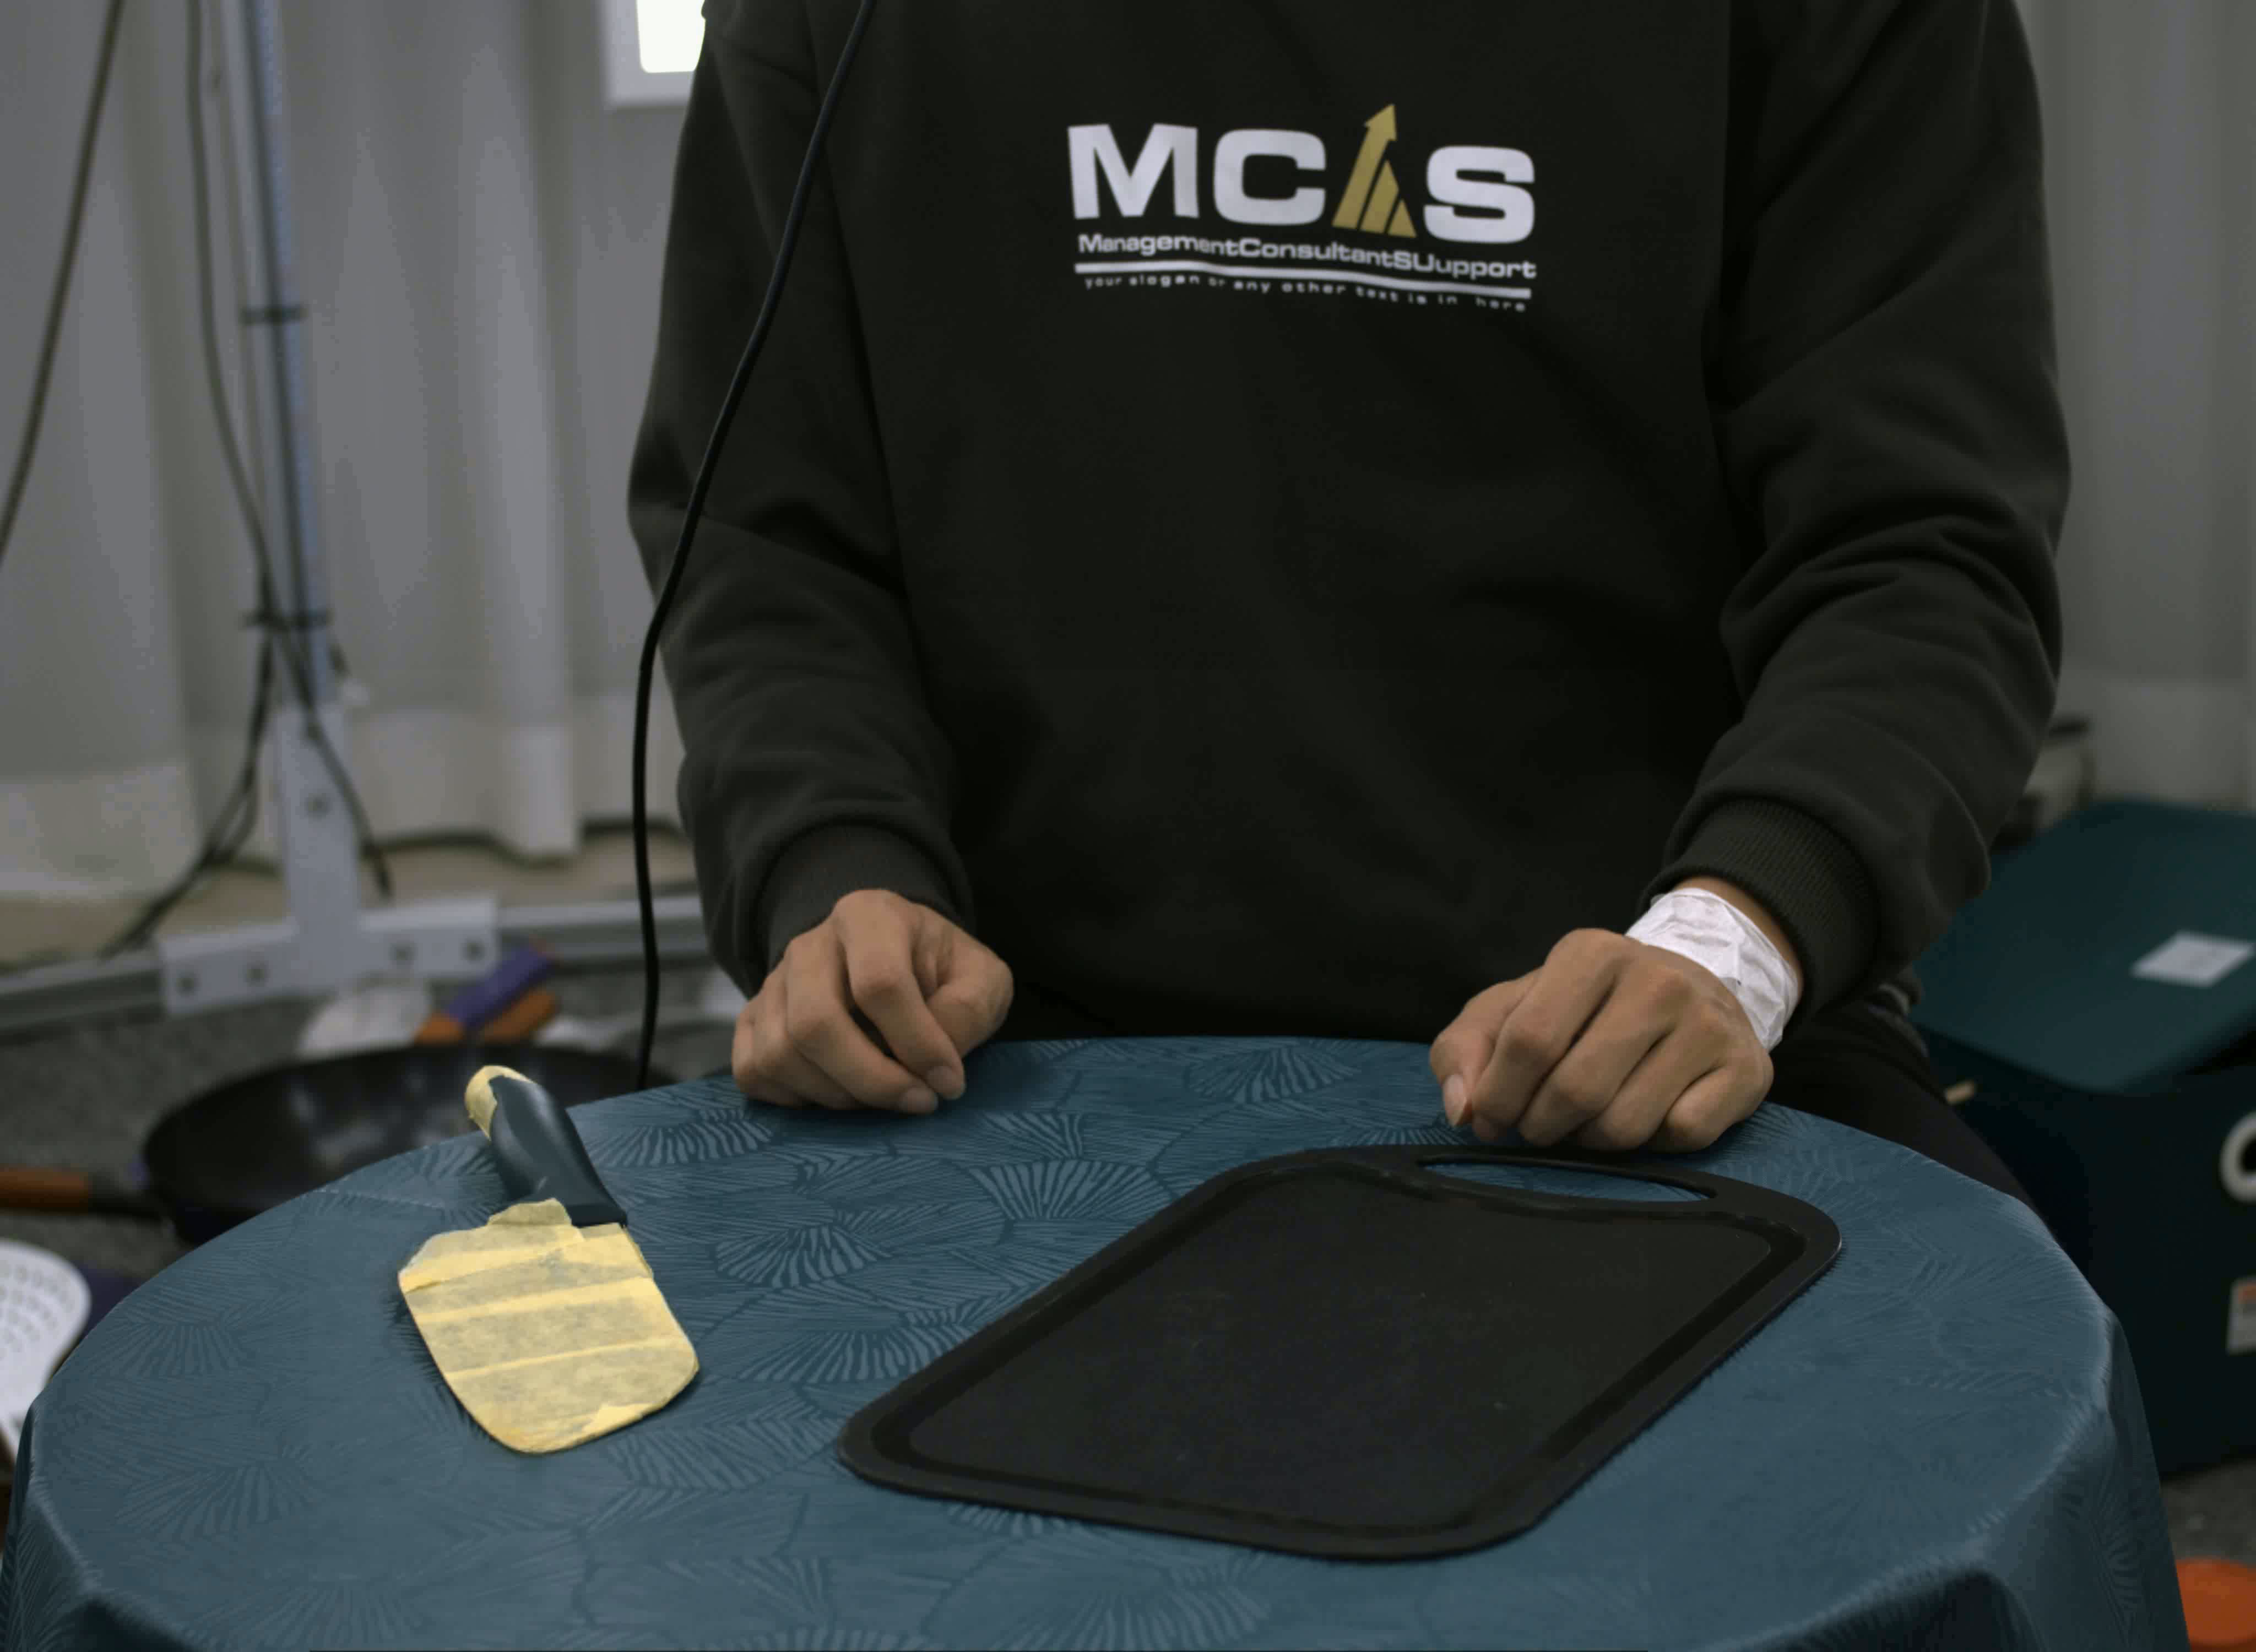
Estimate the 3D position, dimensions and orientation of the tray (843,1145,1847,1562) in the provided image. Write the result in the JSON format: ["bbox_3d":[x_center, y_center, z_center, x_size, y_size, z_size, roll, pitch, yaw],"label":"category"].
[{"bbox_3d":[0.071,0.143,1.583,0.211,0.010,0.326,5,17,28],"label":"tray"}]

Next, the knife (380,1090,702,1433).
[{"bbox_3d":[-0.185,0.132,1.659,0.080,0.027,0.292,-5,16,-13],"label":"knife"}]
